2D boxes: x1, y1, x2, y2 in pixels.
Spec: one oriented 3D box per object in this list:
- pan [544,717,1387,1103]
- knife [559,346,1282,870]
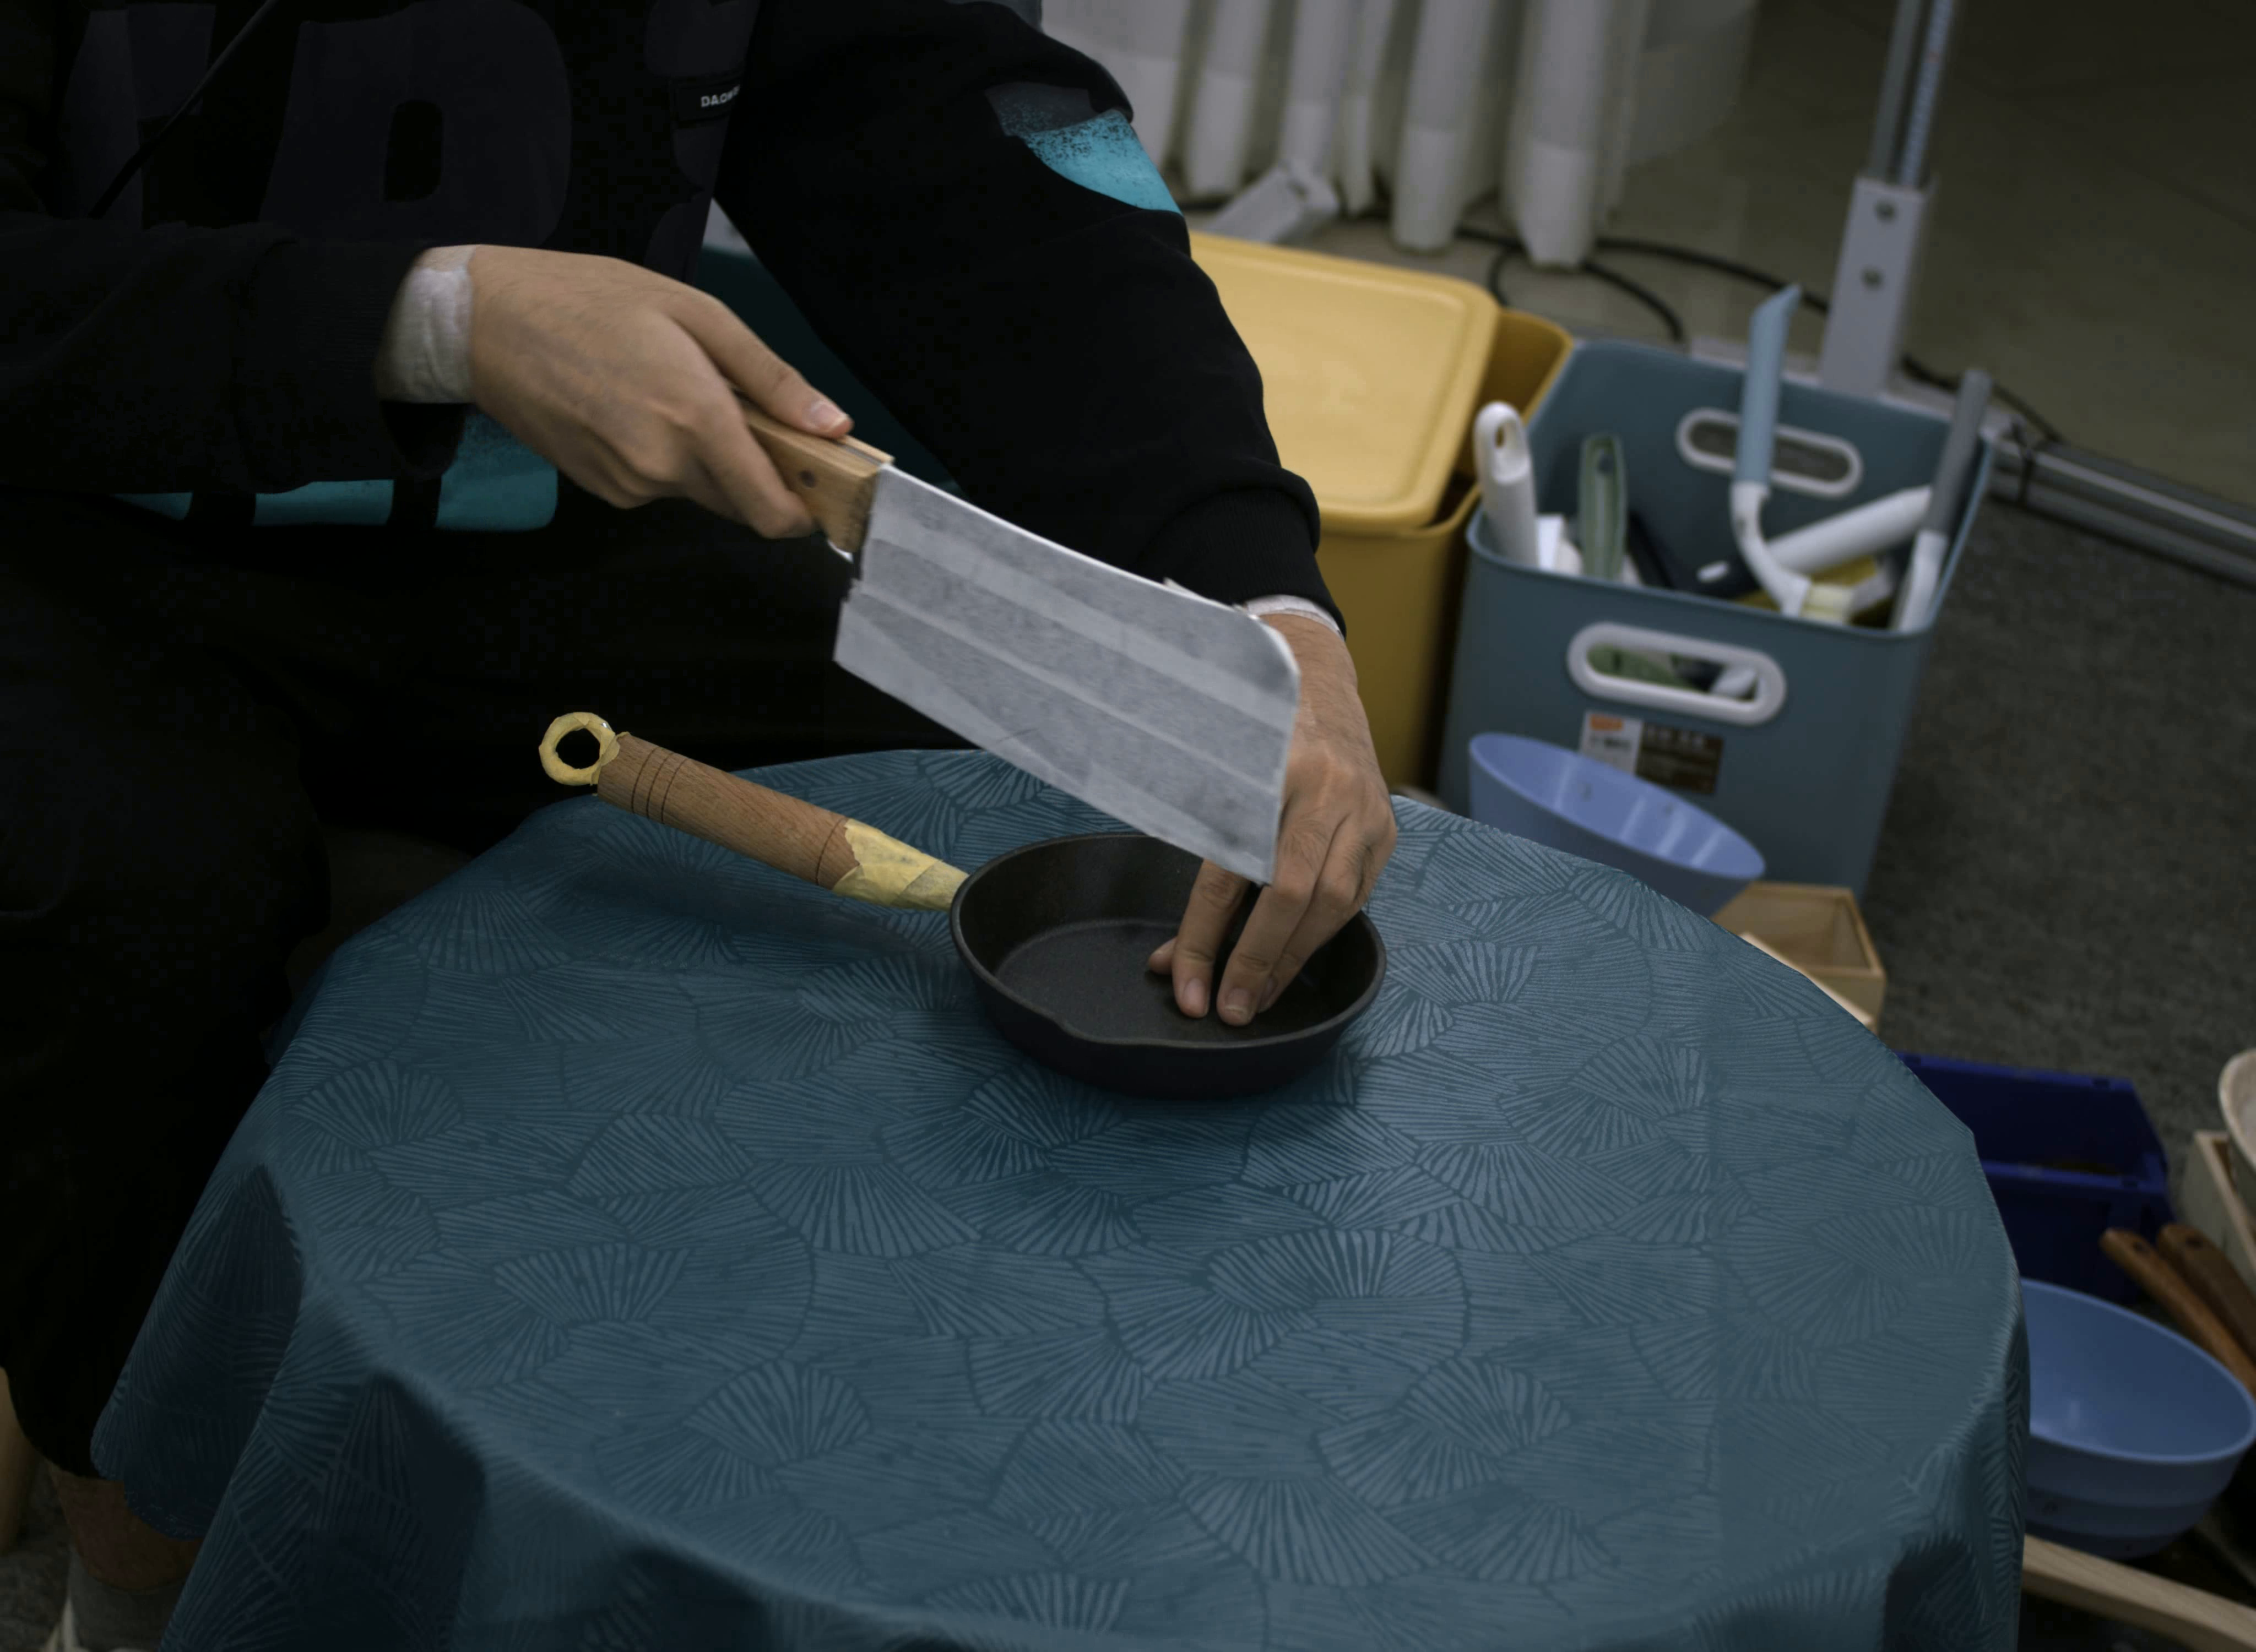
[{"bbox_3d":[-0.064,0.025,1.927,0.325,0.049,0.169,16,29,16],"label":"pan"},{"bbox_3d":[-0.073,-0.088,1.852,0.317,0.113,0.021,30,37,22],"label":"knife"}]
